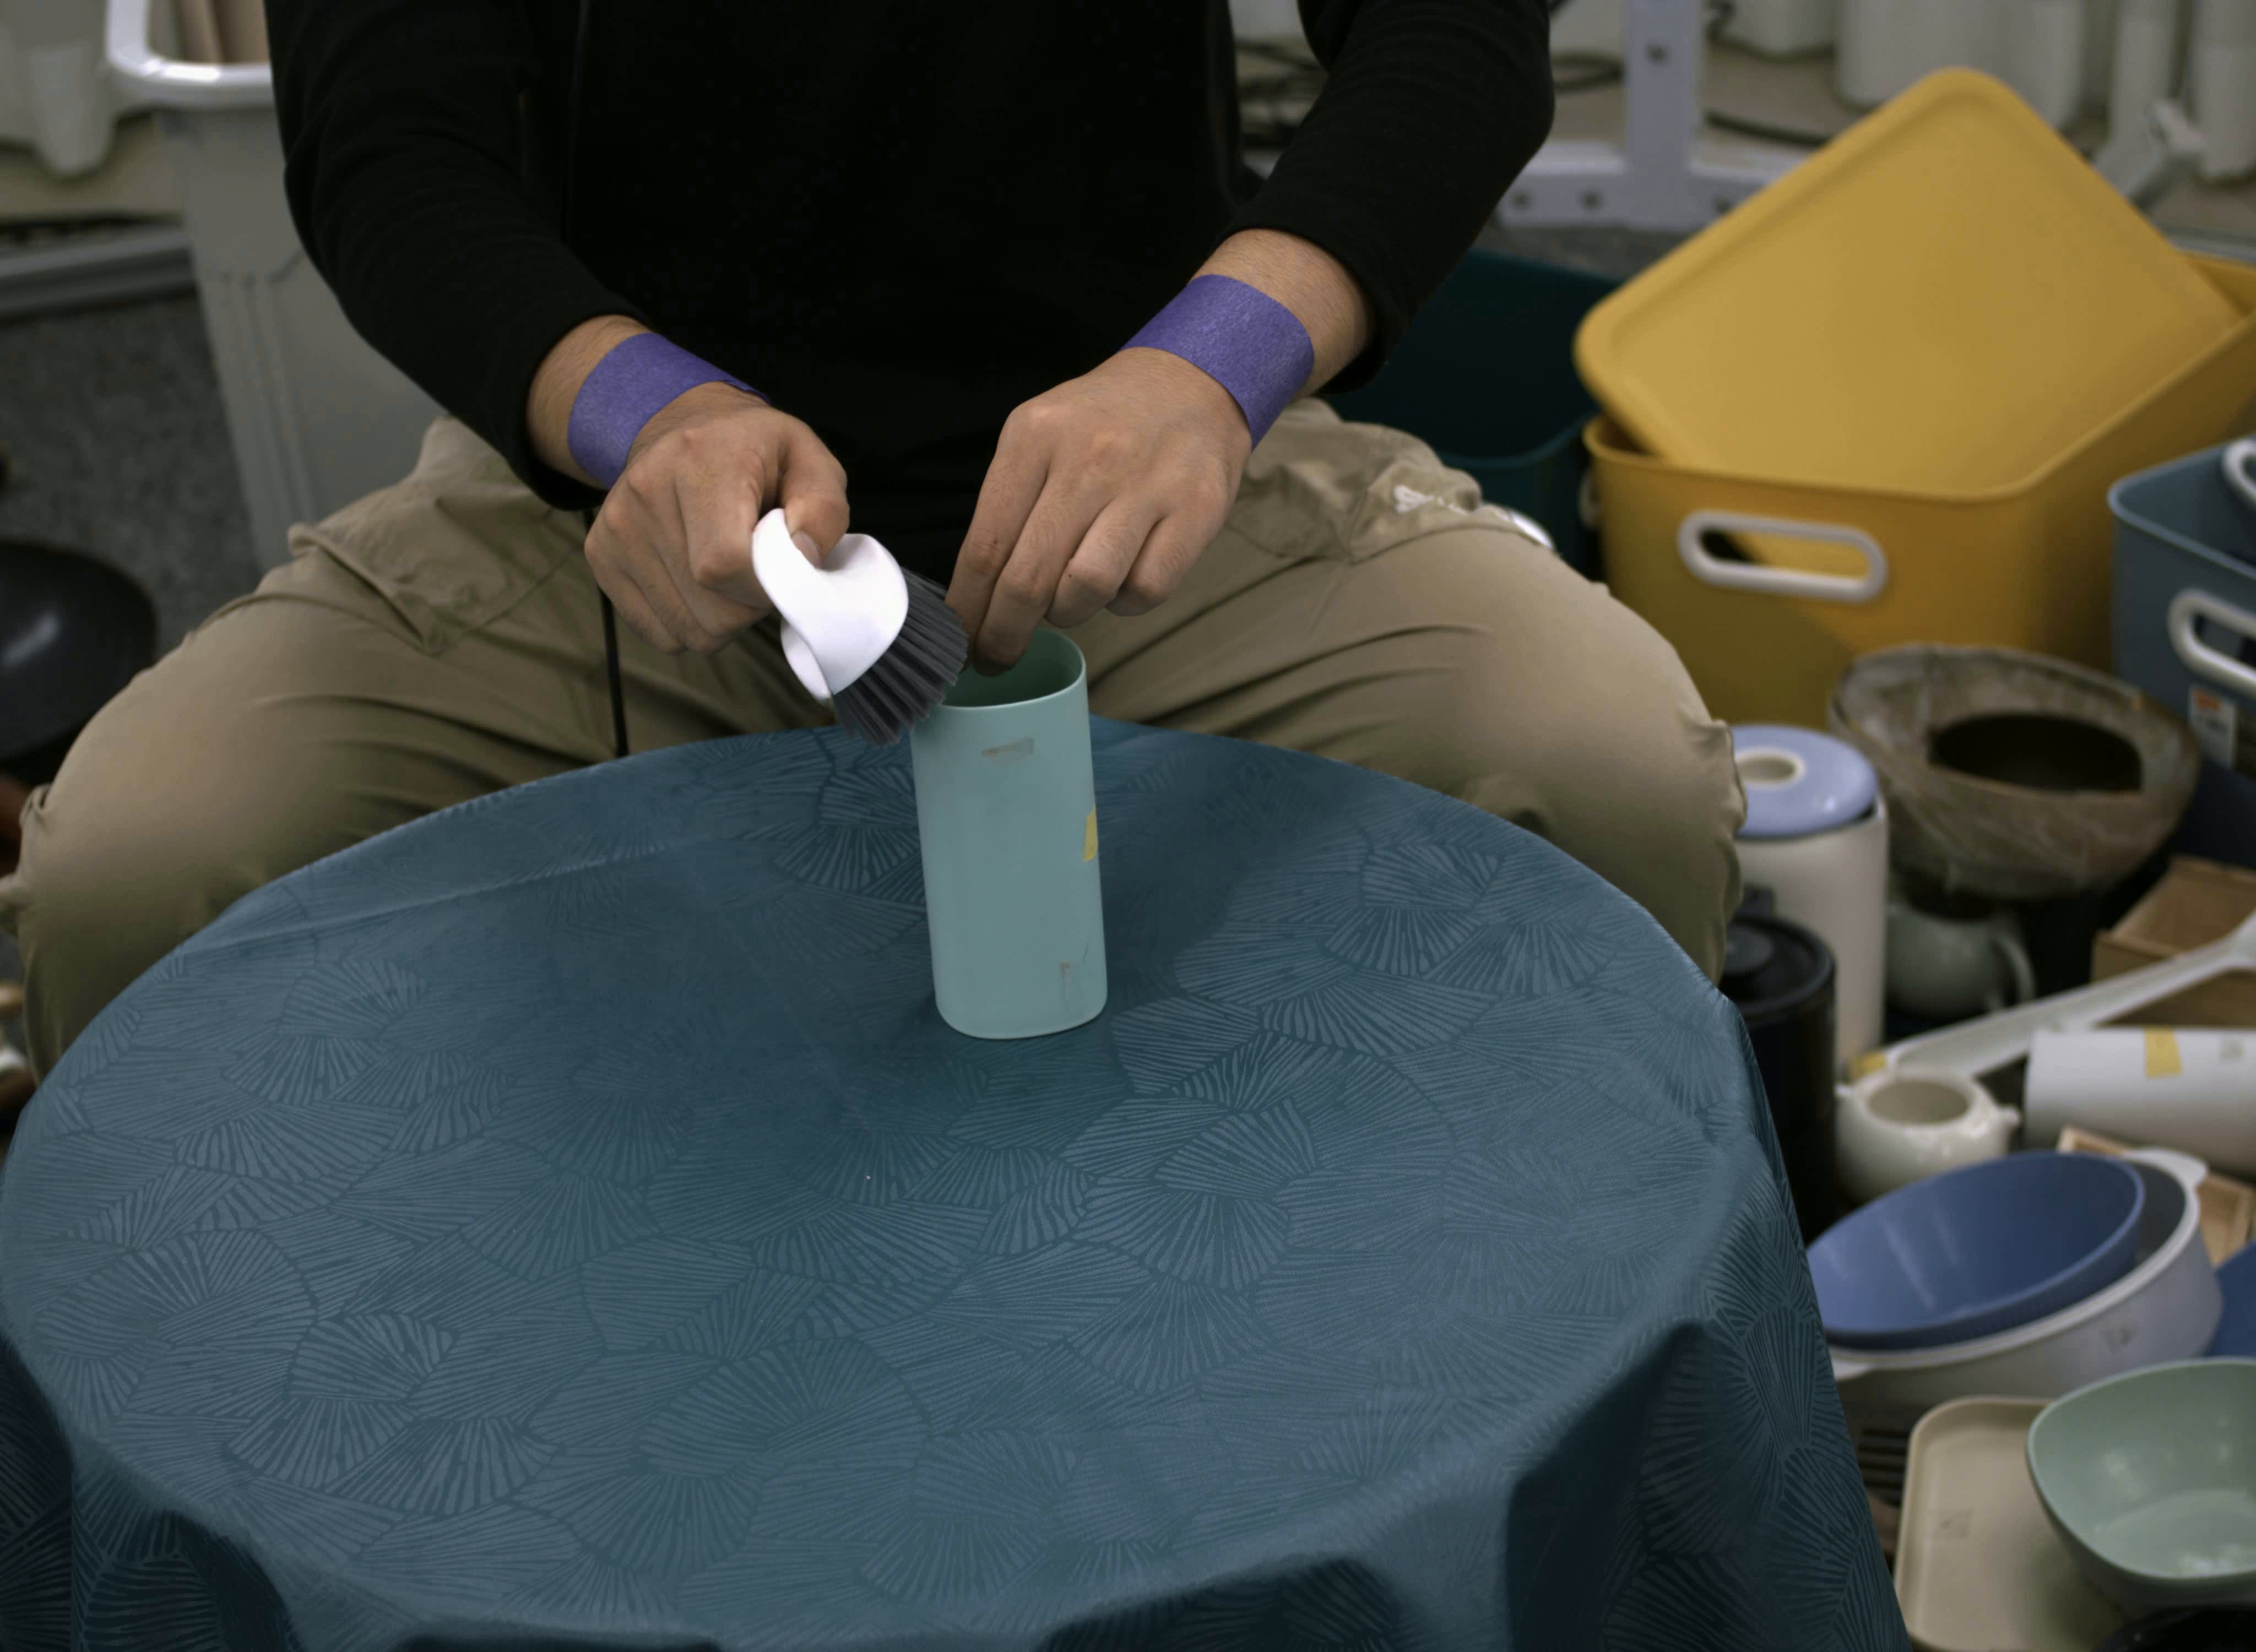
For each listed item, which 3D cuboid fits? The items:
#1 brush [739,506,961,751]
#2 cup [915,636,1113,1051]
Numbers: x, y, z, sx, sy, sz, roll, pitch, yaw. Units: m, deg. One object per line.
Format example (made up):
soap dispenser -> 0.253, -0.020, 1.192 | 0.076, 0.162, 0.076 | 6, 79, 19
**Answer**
brush -> -0.101, -0.075, 1.915 | 0.050, 0.072, 0.100 | -44, 21, 9
cup -> -0.041, 0.006, 1.956 | 0.066, 0.131, 0.068 | -3, 27, 2
